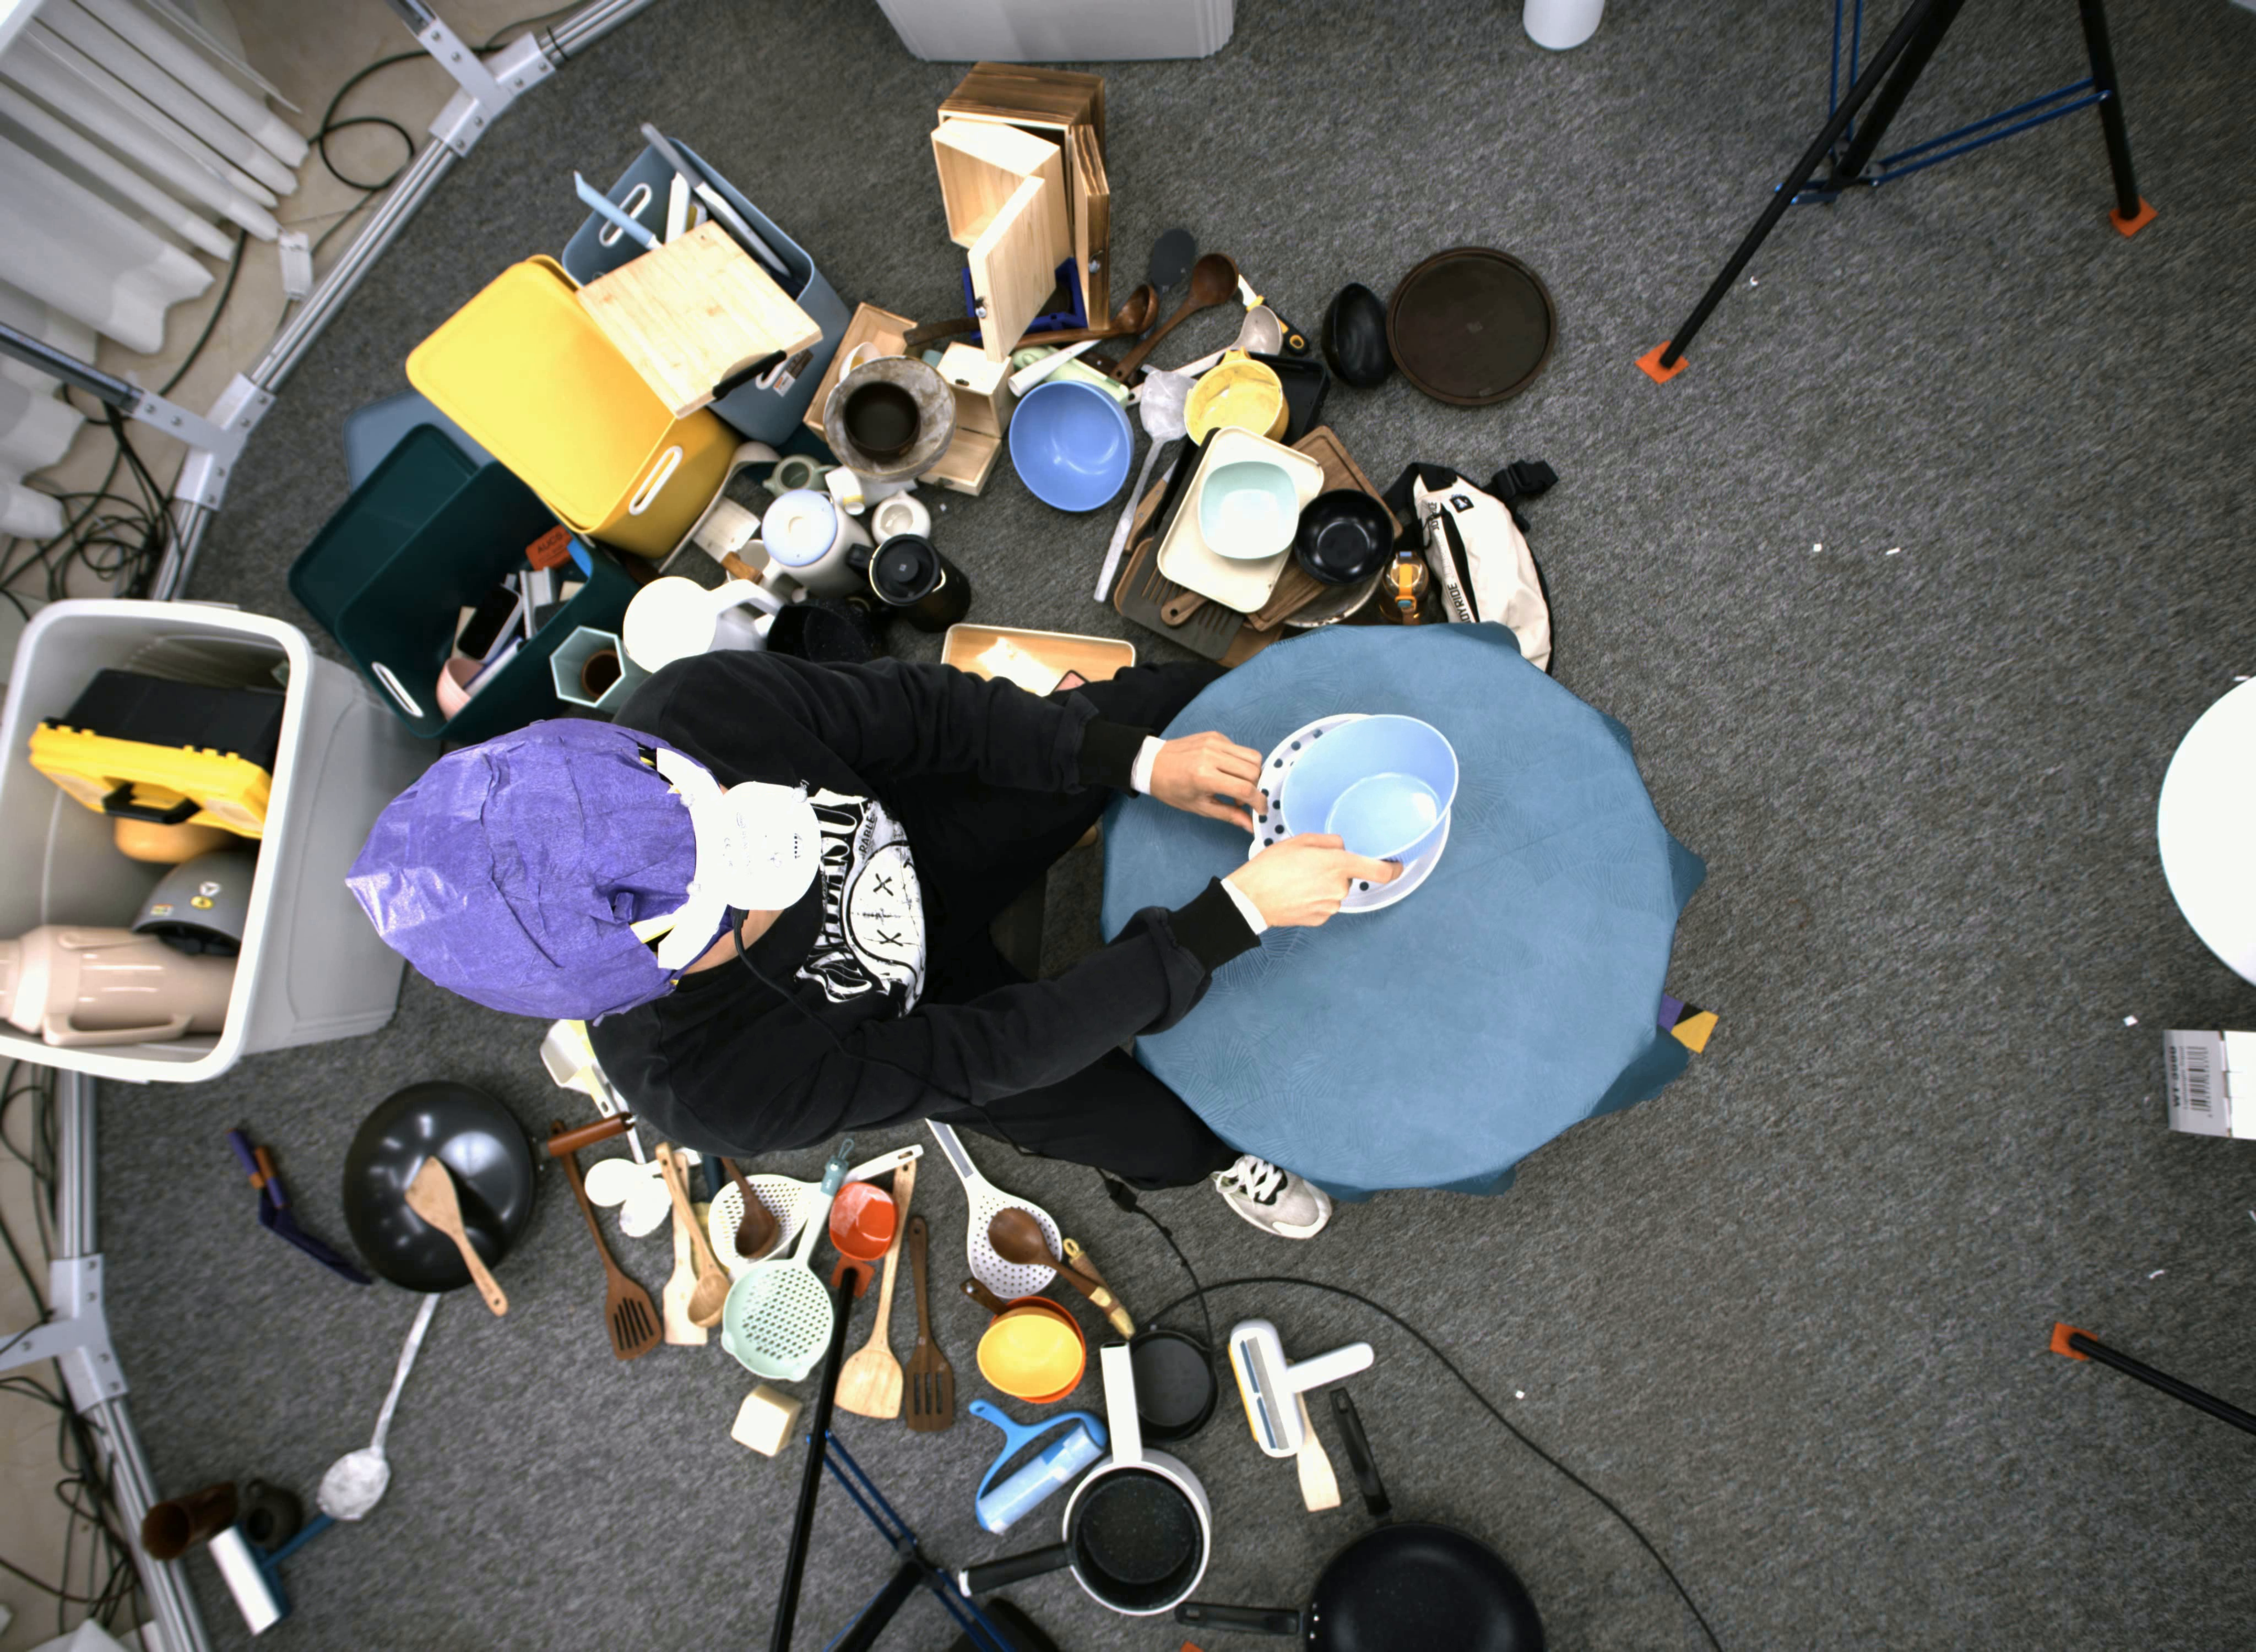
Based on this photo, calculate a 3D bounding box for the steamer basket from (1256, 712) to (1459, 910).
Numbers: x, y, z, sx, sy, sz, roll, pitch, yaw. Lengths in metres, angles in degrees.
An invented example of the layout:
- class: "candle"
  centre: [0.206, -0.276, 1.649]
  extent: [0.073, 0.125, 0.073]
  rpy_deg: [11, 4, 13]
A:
- class: "steamer basket"
  centre: [0.232, -0.017, 1.424]
  extent: [0.230, 0.069, 0.202]
  rpy_deg: [-36, 96, -1]

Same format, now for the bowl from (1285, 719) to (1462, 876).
- class: "bowl"
  centre: [0.246, -0.018, 1.350]
  extent: [0.178, 0.071, 0.171]
  rpy_deg: [-16, 50, 19]
